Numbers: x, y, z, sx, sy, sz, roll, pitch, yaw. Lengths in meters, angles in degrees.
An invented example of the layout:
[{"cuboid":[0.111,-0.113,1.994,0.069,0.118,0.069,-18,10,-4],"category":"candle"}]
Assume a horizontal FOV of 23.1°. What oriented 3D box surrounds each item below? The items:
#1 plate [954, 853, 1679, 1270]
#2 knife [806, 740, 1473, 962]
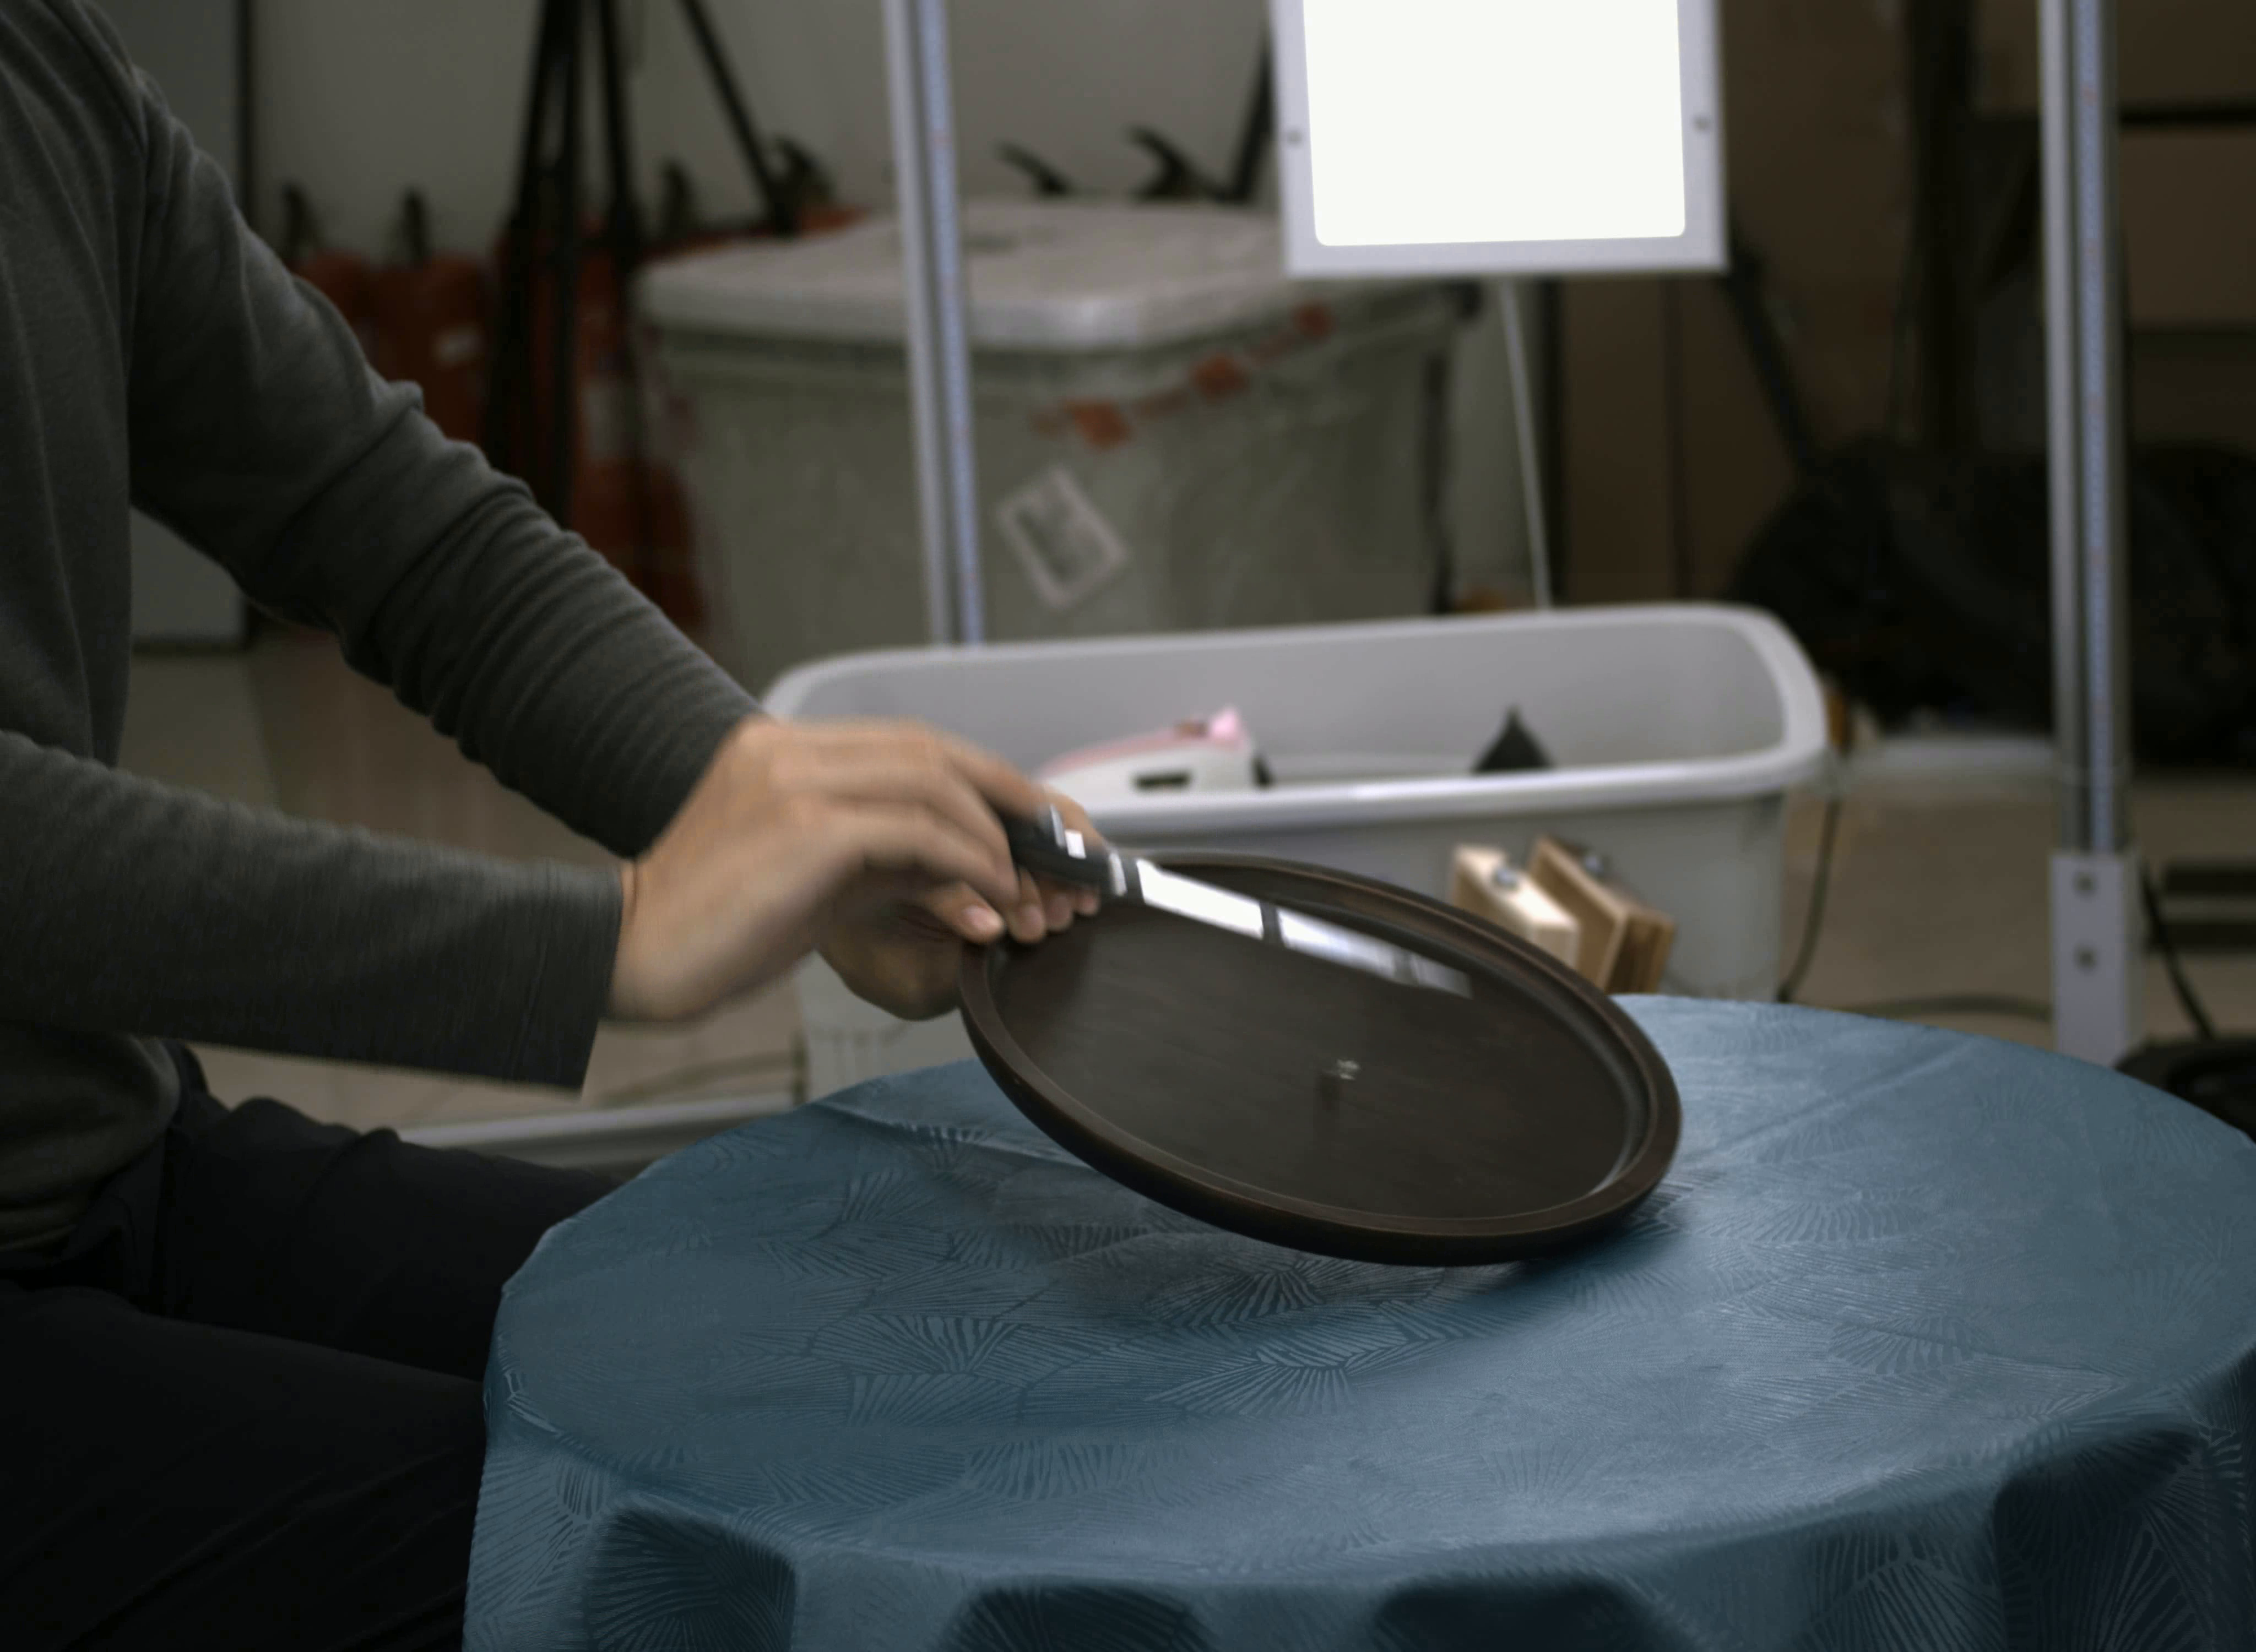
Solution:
[{"cuboid":[0.063,0.077,1.864,0.253,0.029,0.254,11,26,-7],"category":"plate"},{"cuboid":[0.000,0.010,1.735,0.241,0.016,0.024,17,14,24],"category":"knife"}]
